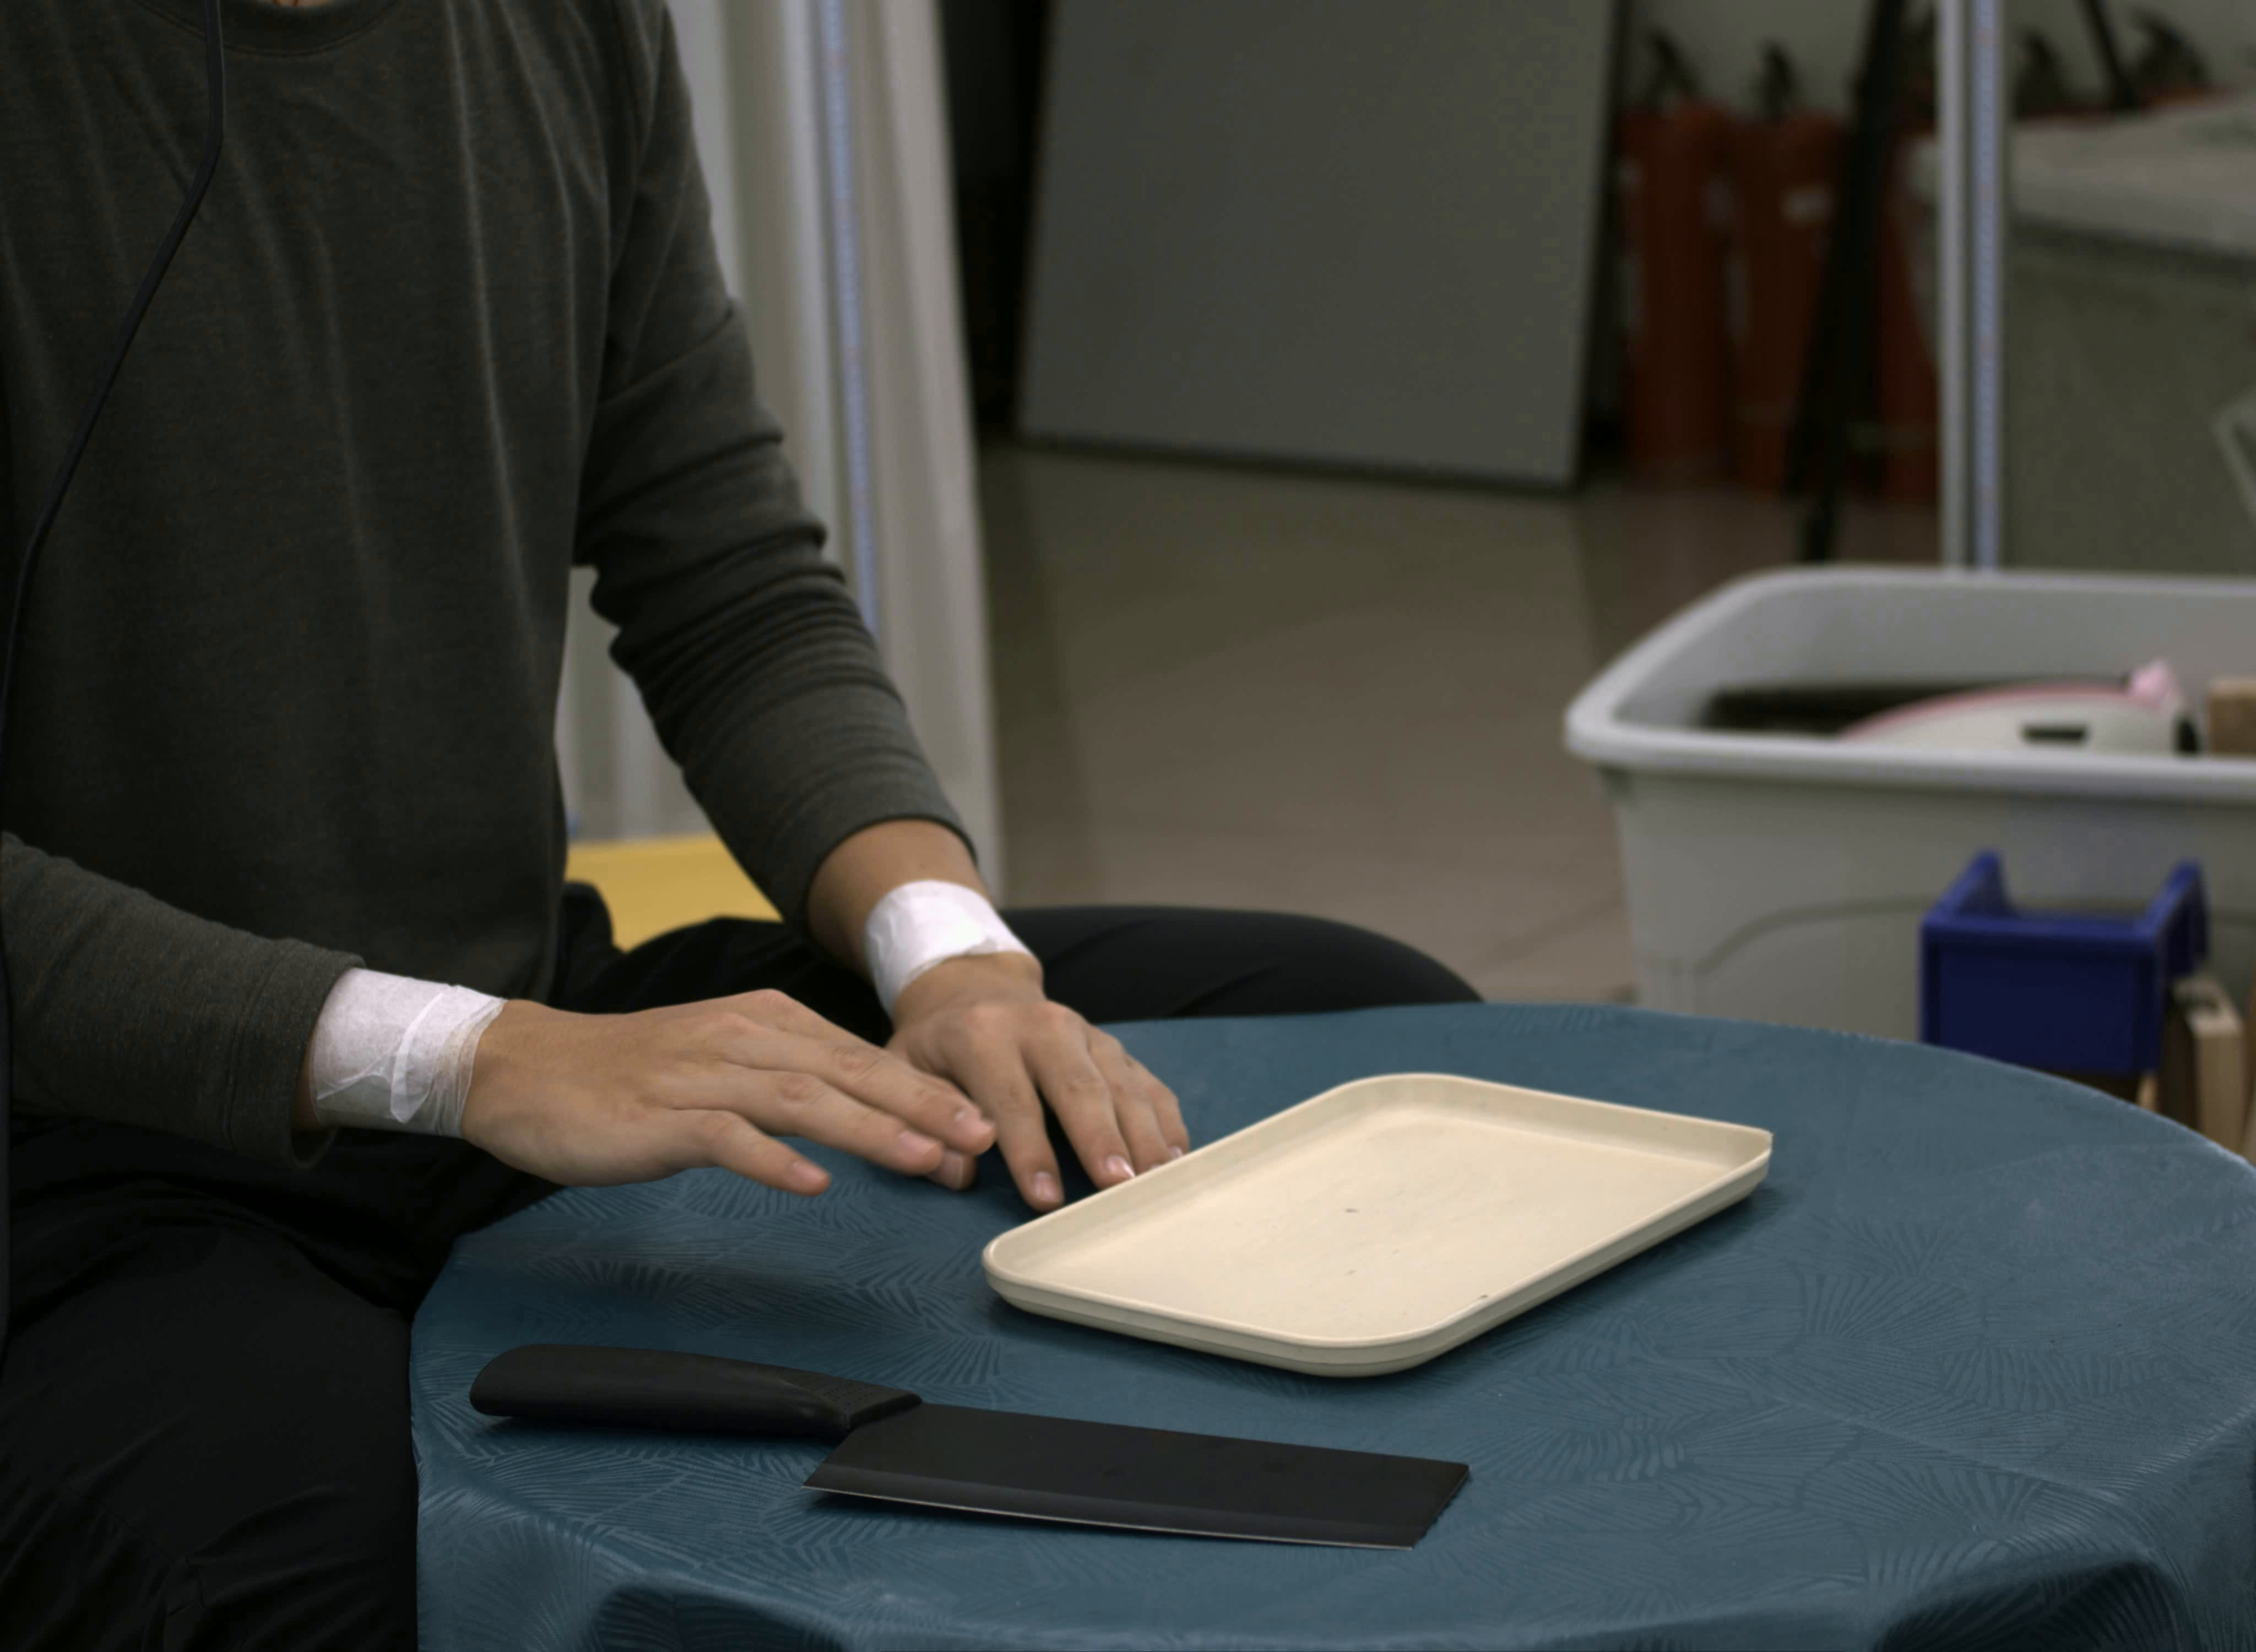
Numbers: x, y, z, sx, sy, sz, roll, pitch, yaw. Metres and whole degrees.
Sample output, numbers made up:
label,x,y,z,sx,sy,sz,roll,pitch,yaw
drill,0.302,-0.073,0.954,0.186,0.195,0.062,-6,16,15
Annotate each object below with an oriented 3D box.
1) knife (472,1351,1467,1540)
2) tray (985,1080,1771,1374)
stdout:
label,x,y,z,sx,sy,sz,roll,pitch,yaw
knife,-0.051,0.177,1.531,0.303,0.021,0.080,4,17,26
tray,0.082,0.125,1.698,0.172,0.017,0.235,6,17,39
